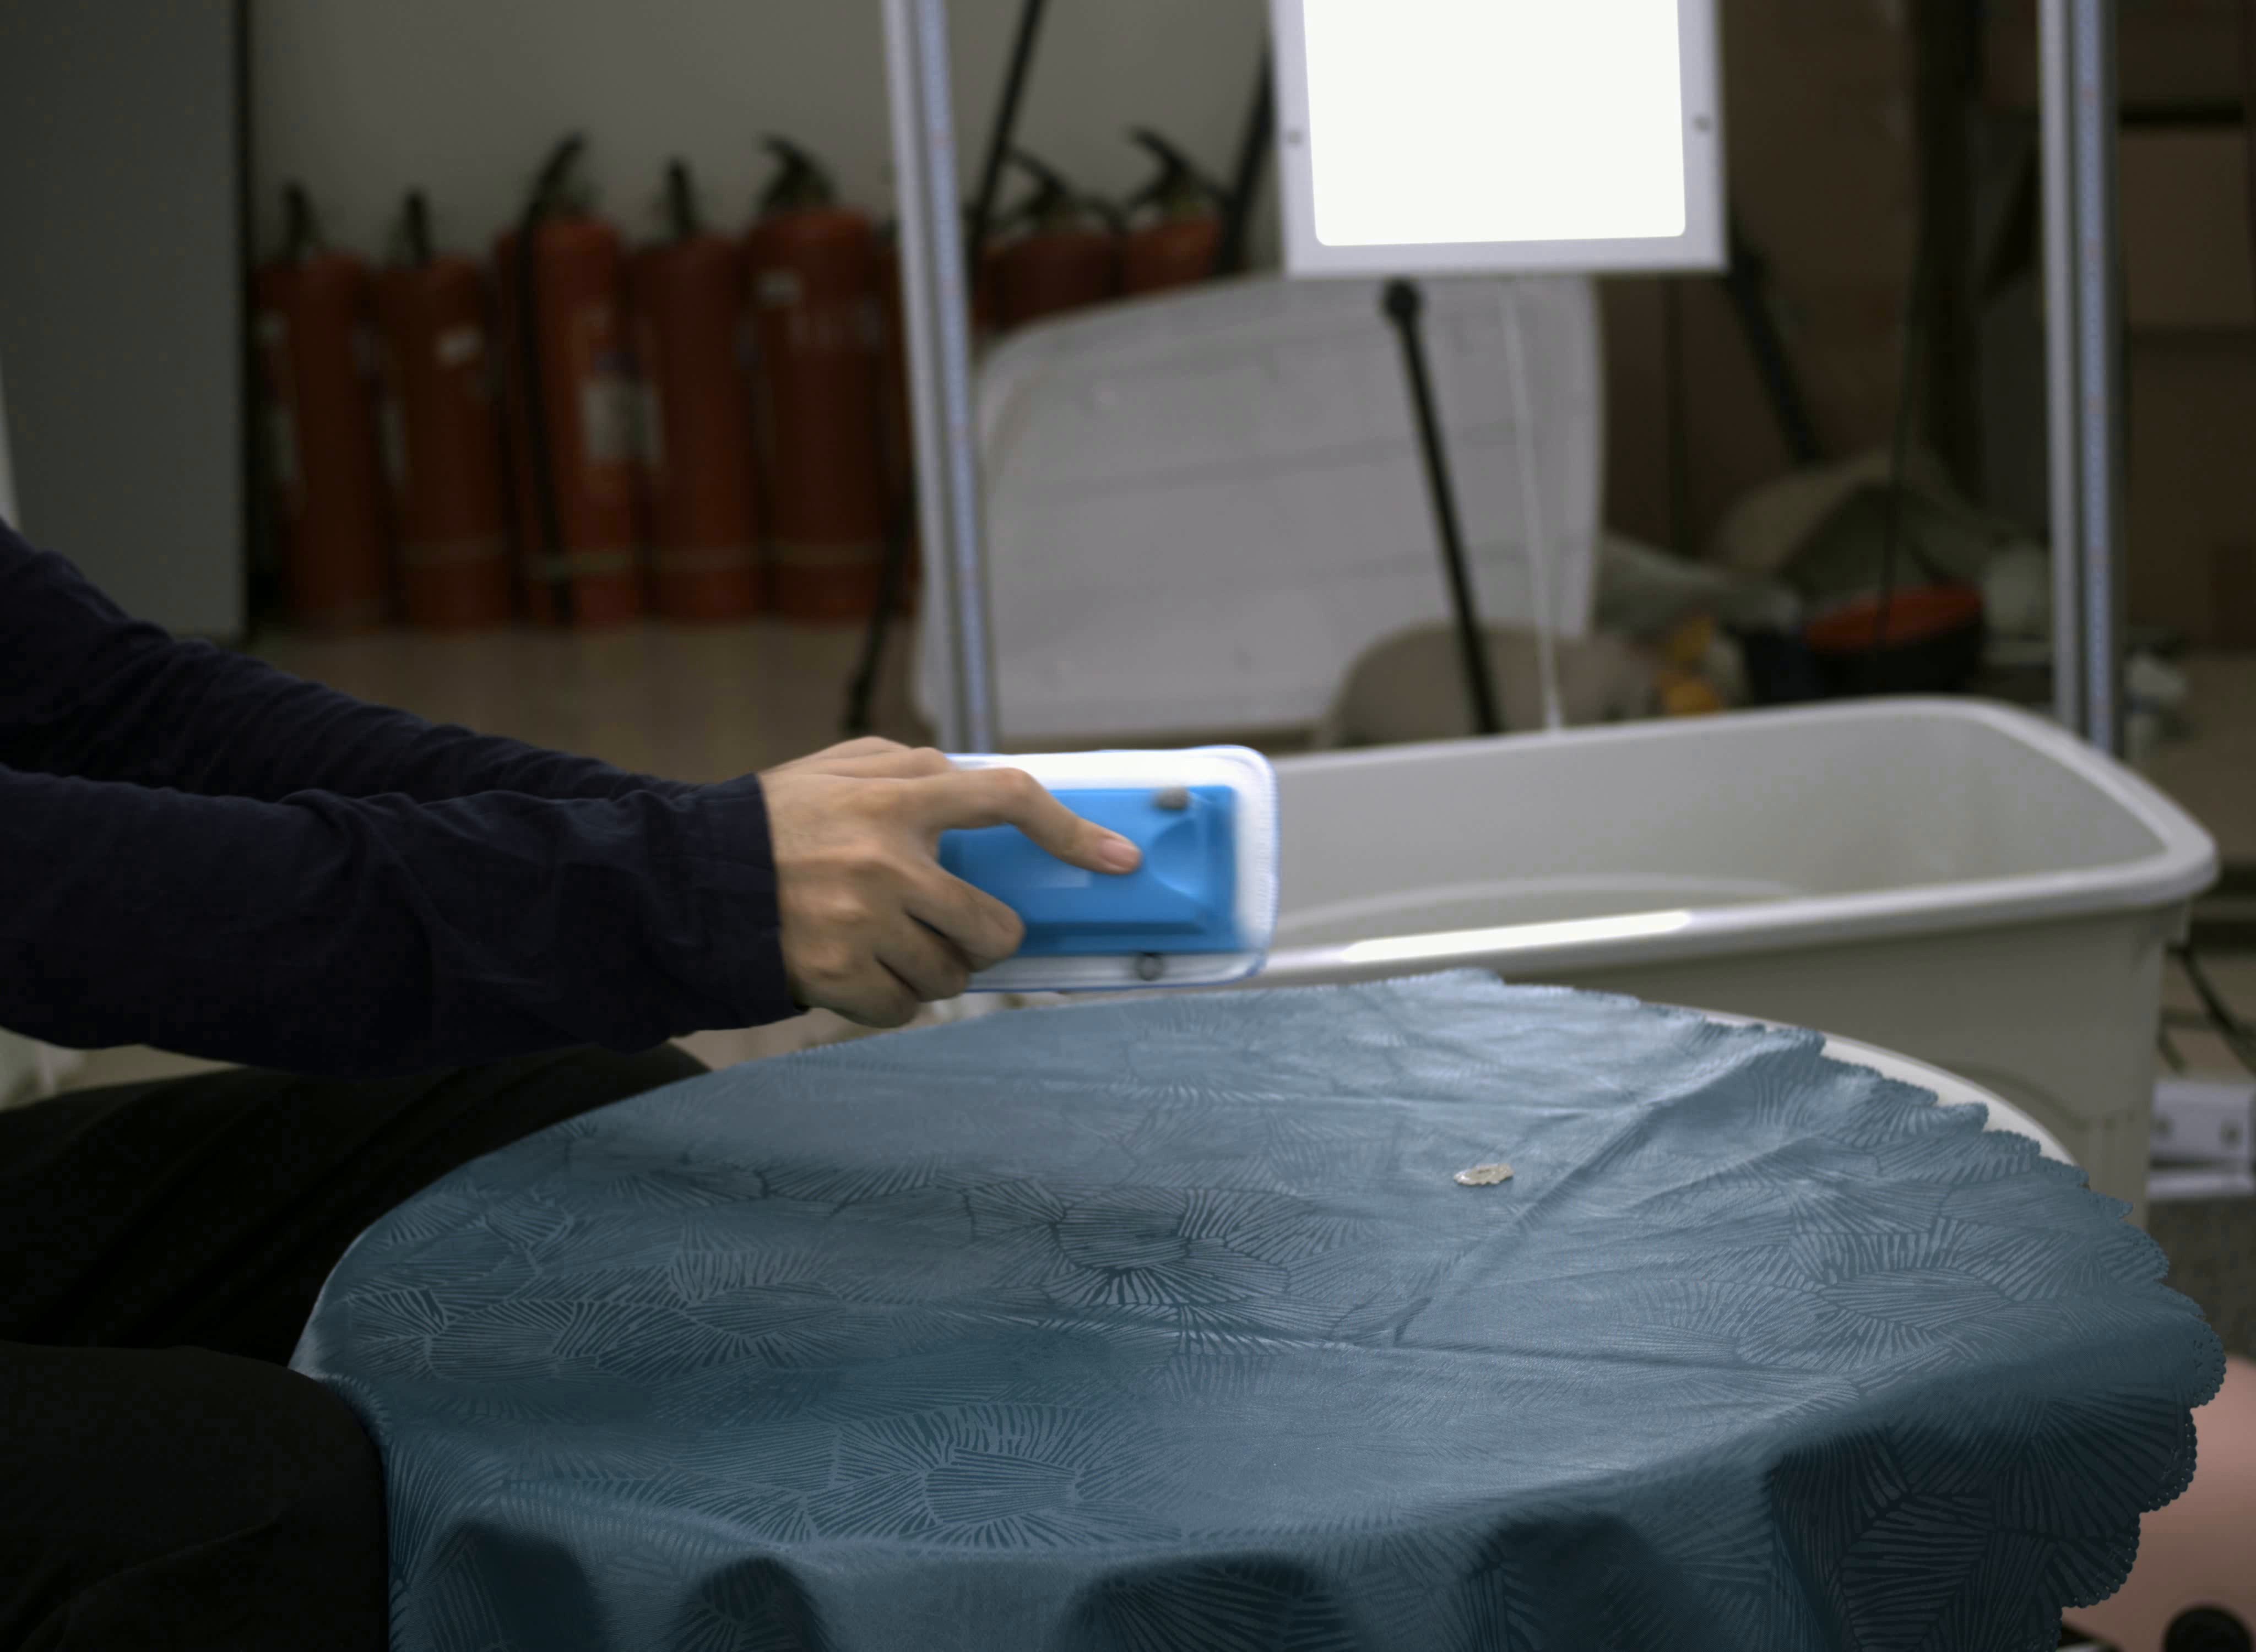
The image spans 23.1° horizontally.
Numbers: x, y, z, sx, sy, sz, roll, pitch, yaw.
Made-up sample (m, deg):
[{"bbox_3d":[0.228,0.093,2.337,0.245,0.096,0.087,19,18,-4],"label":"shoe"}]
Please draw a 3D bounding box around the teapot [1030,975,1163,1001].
[{"bbox_3d":[-0.029,0.020,1.874,0.130,0.059,0.090,9,-19,34],"label":"teapot"}]

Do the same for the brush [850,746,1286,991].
[{"bbox_3d":[-0.021,0.009,1.793,0.145,0.084,0.055,0,-16,10],"label":"brush"}]
